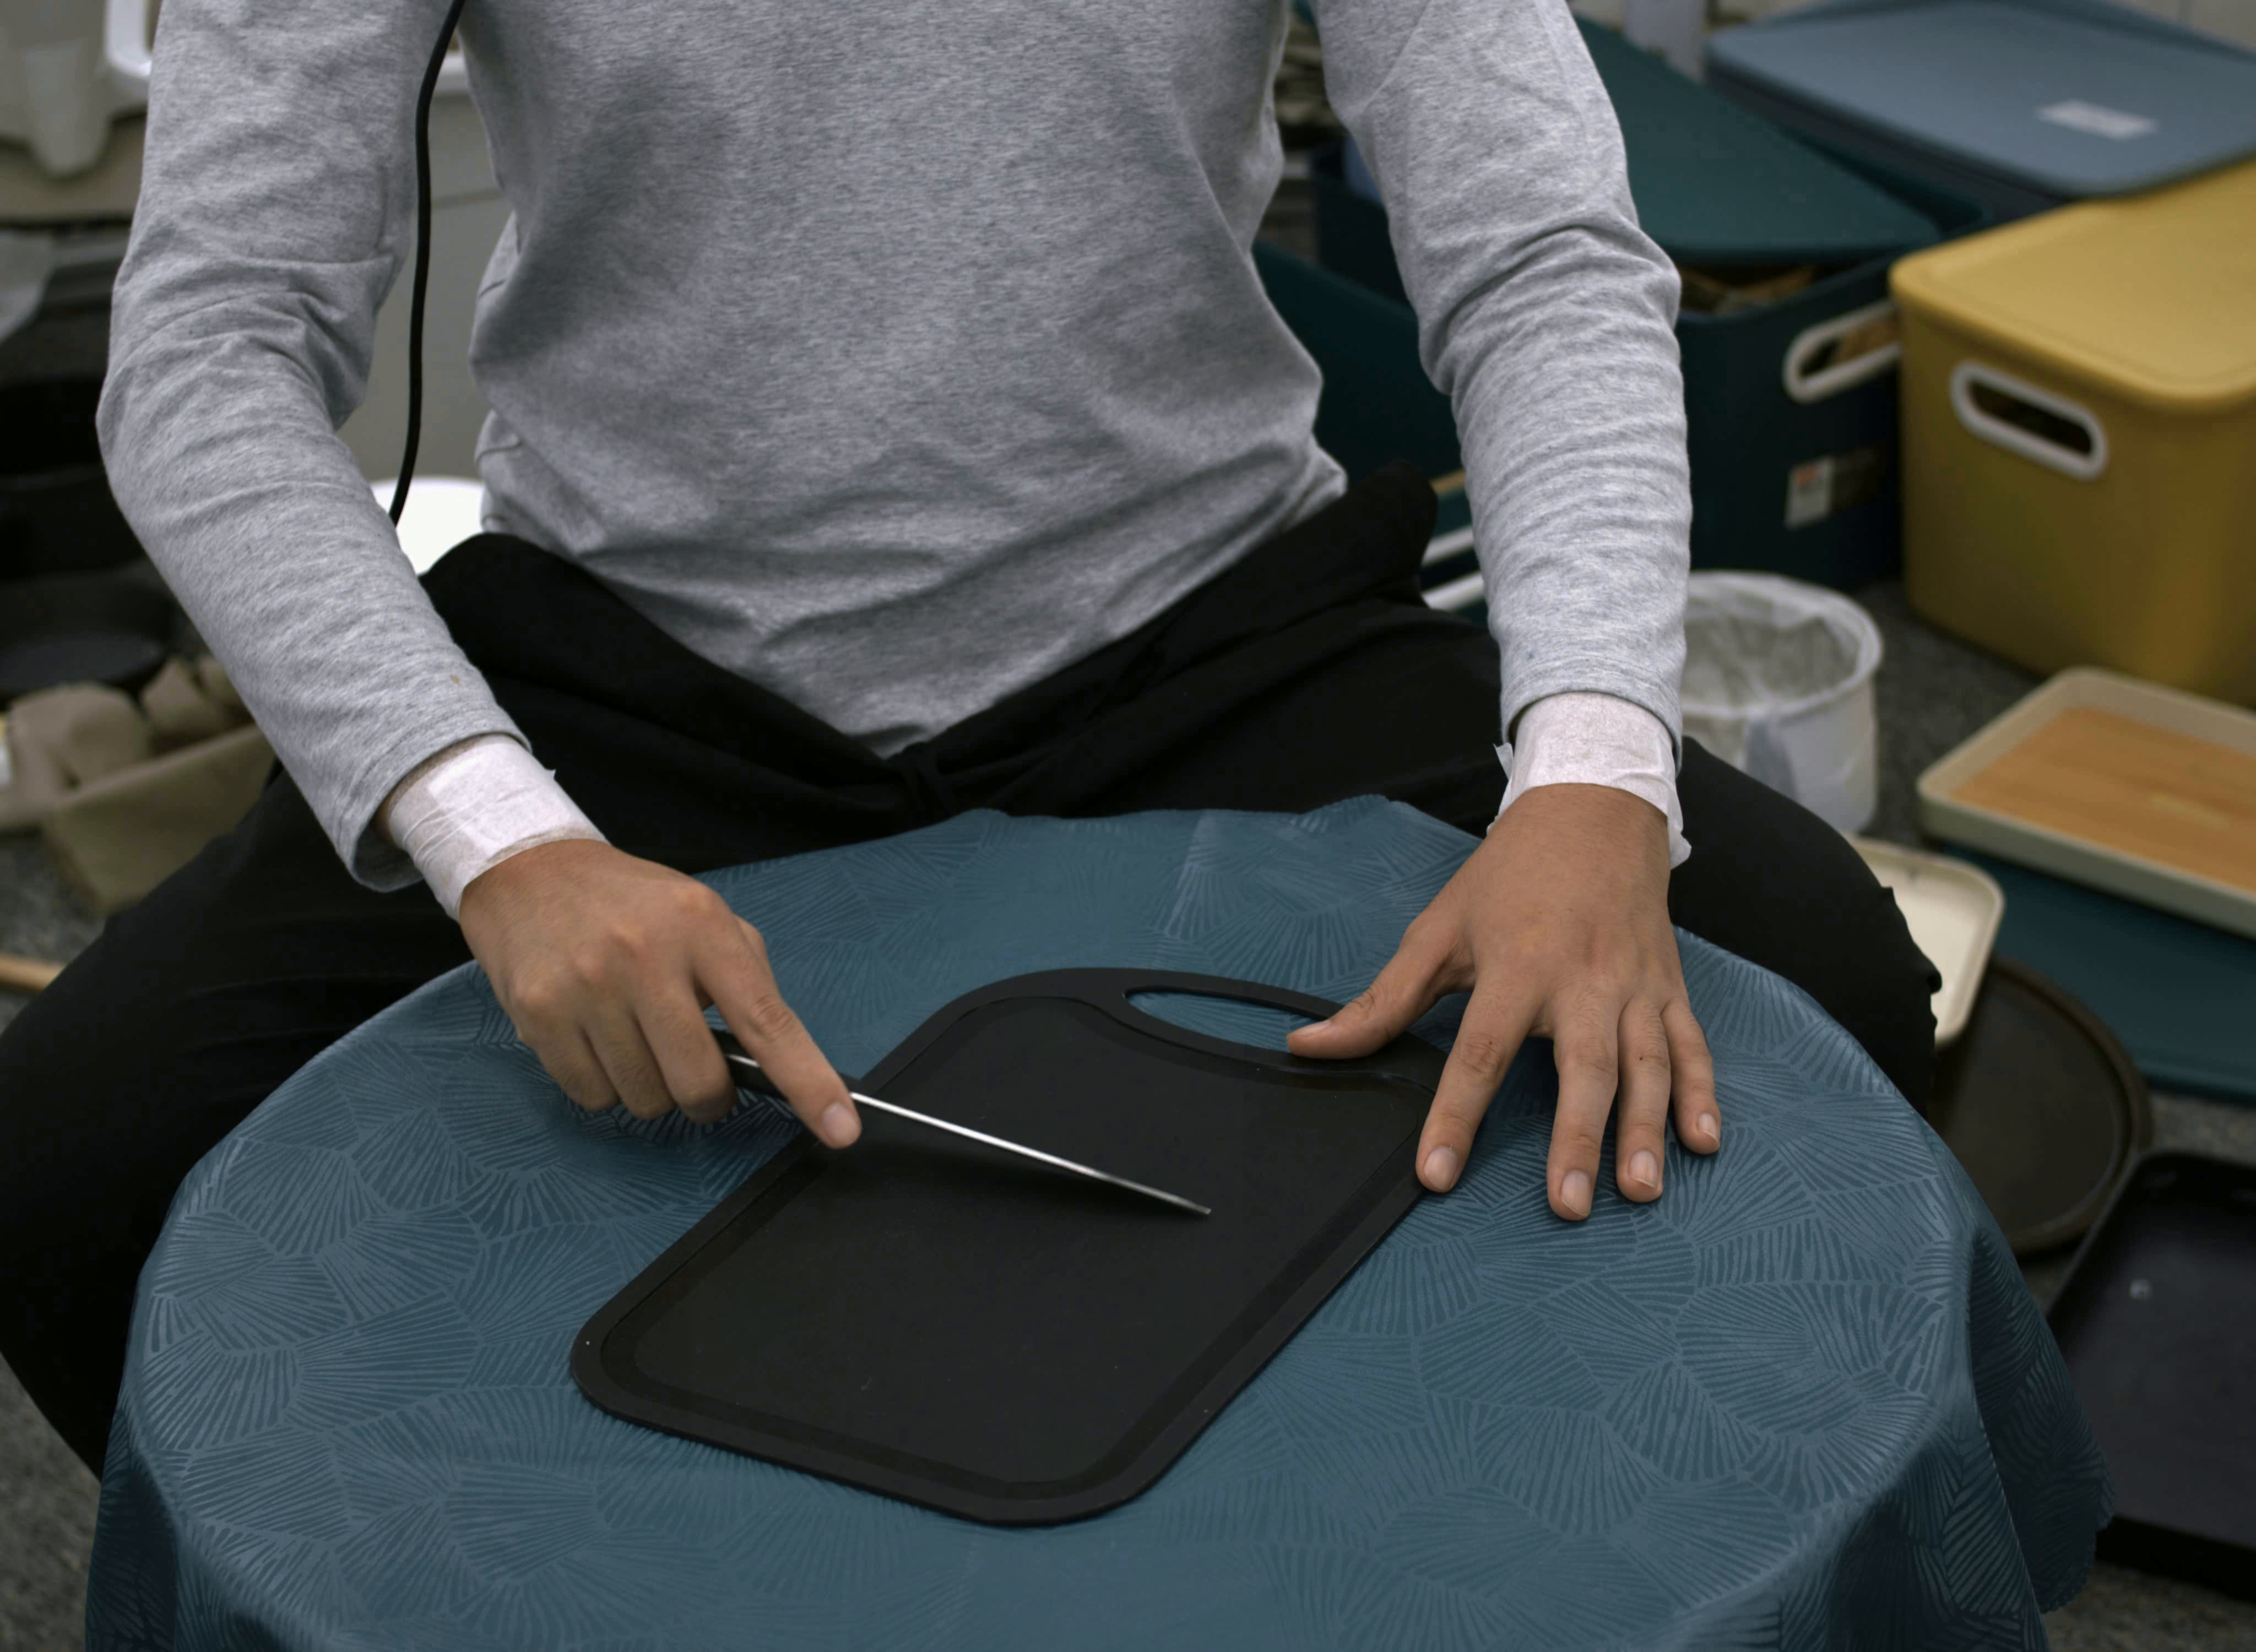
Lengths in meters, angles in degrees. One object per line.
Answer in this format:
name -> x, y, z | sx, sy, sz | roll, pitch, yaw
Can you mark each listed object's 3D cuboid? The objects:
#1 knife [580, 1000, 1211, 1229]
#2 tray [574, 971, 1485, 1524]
knife -> -0.080, 0.098, 1.877 | 0.237, 0.016, 0.024 | 17, -6, 19
tray -> -0.024, 0.127, 1.848 | 0.210, 0.009, 0.330 | 13, 31, 27
